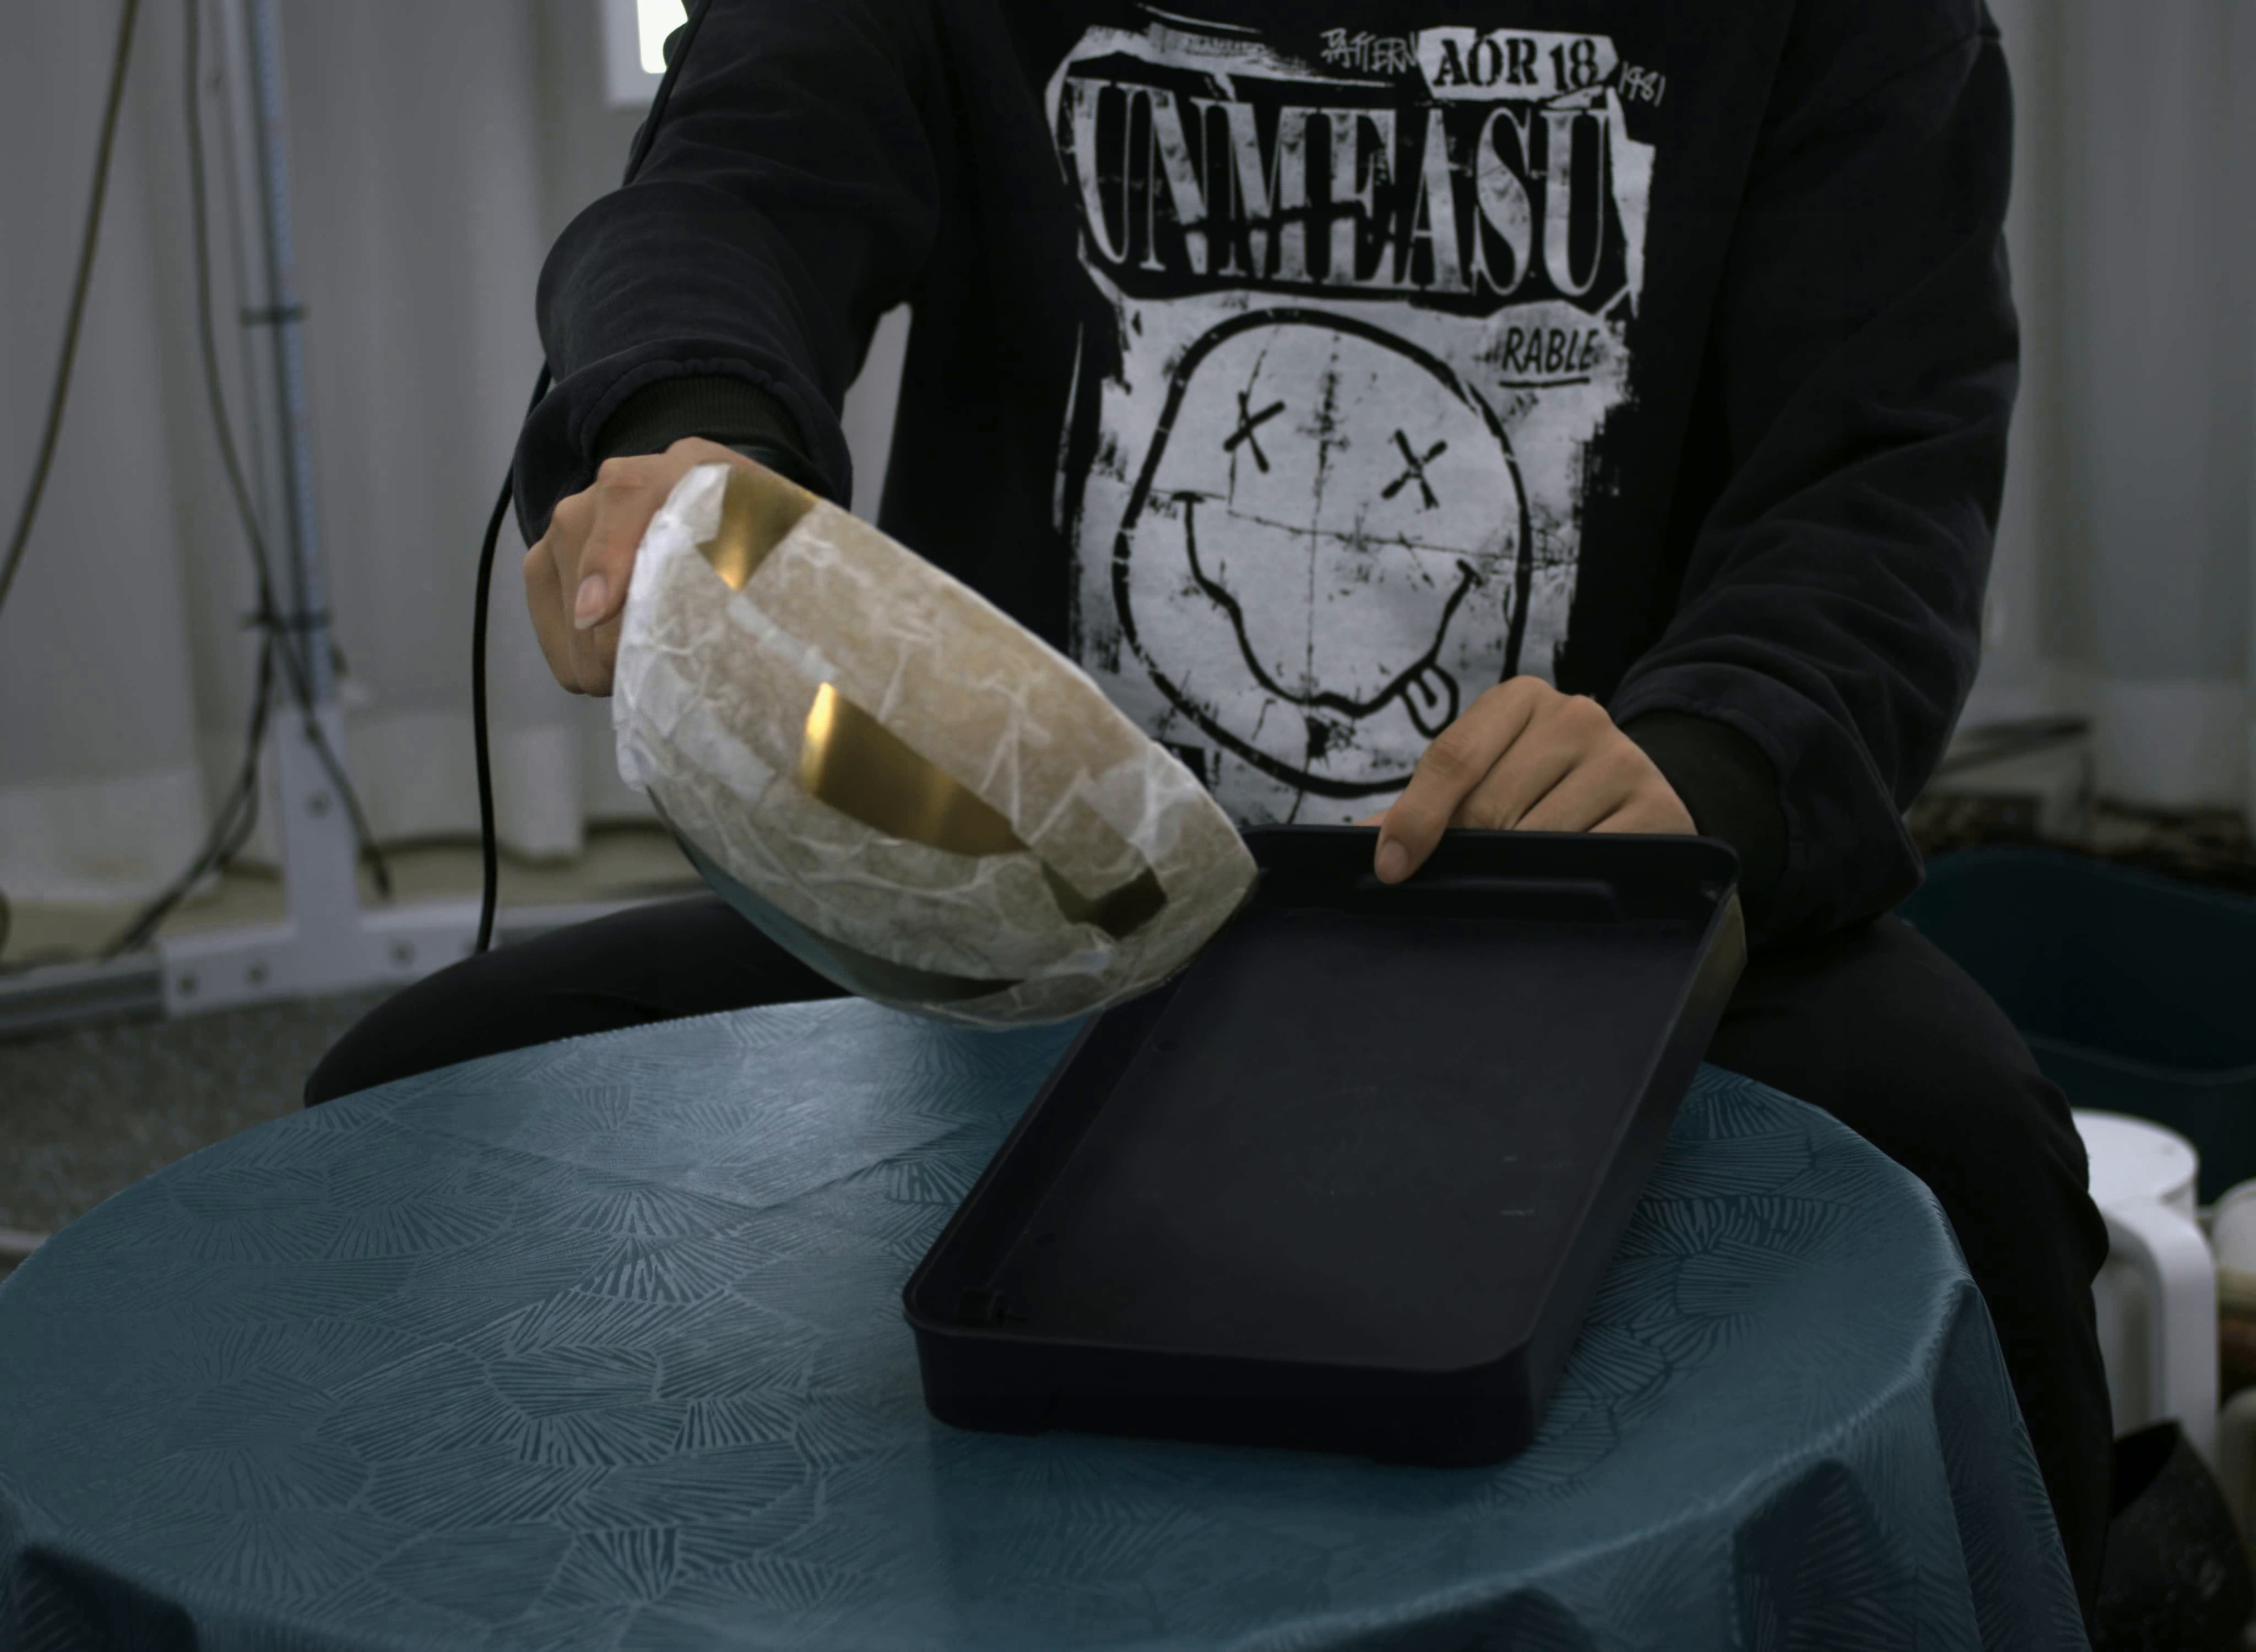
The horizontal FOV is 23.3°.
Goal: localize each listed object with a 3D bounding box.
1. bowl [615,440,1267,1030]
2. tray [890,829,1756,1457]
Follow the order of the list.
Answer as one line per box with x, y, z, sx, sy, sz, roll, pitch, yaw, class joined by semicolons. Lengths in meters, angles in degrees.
-0.069;-0.006;1.535;0.215;0.095;0.213;35;-10;7;bowl
0.067;0.086;1.620;0.184;0.037;0.320;1;26;21;tray
